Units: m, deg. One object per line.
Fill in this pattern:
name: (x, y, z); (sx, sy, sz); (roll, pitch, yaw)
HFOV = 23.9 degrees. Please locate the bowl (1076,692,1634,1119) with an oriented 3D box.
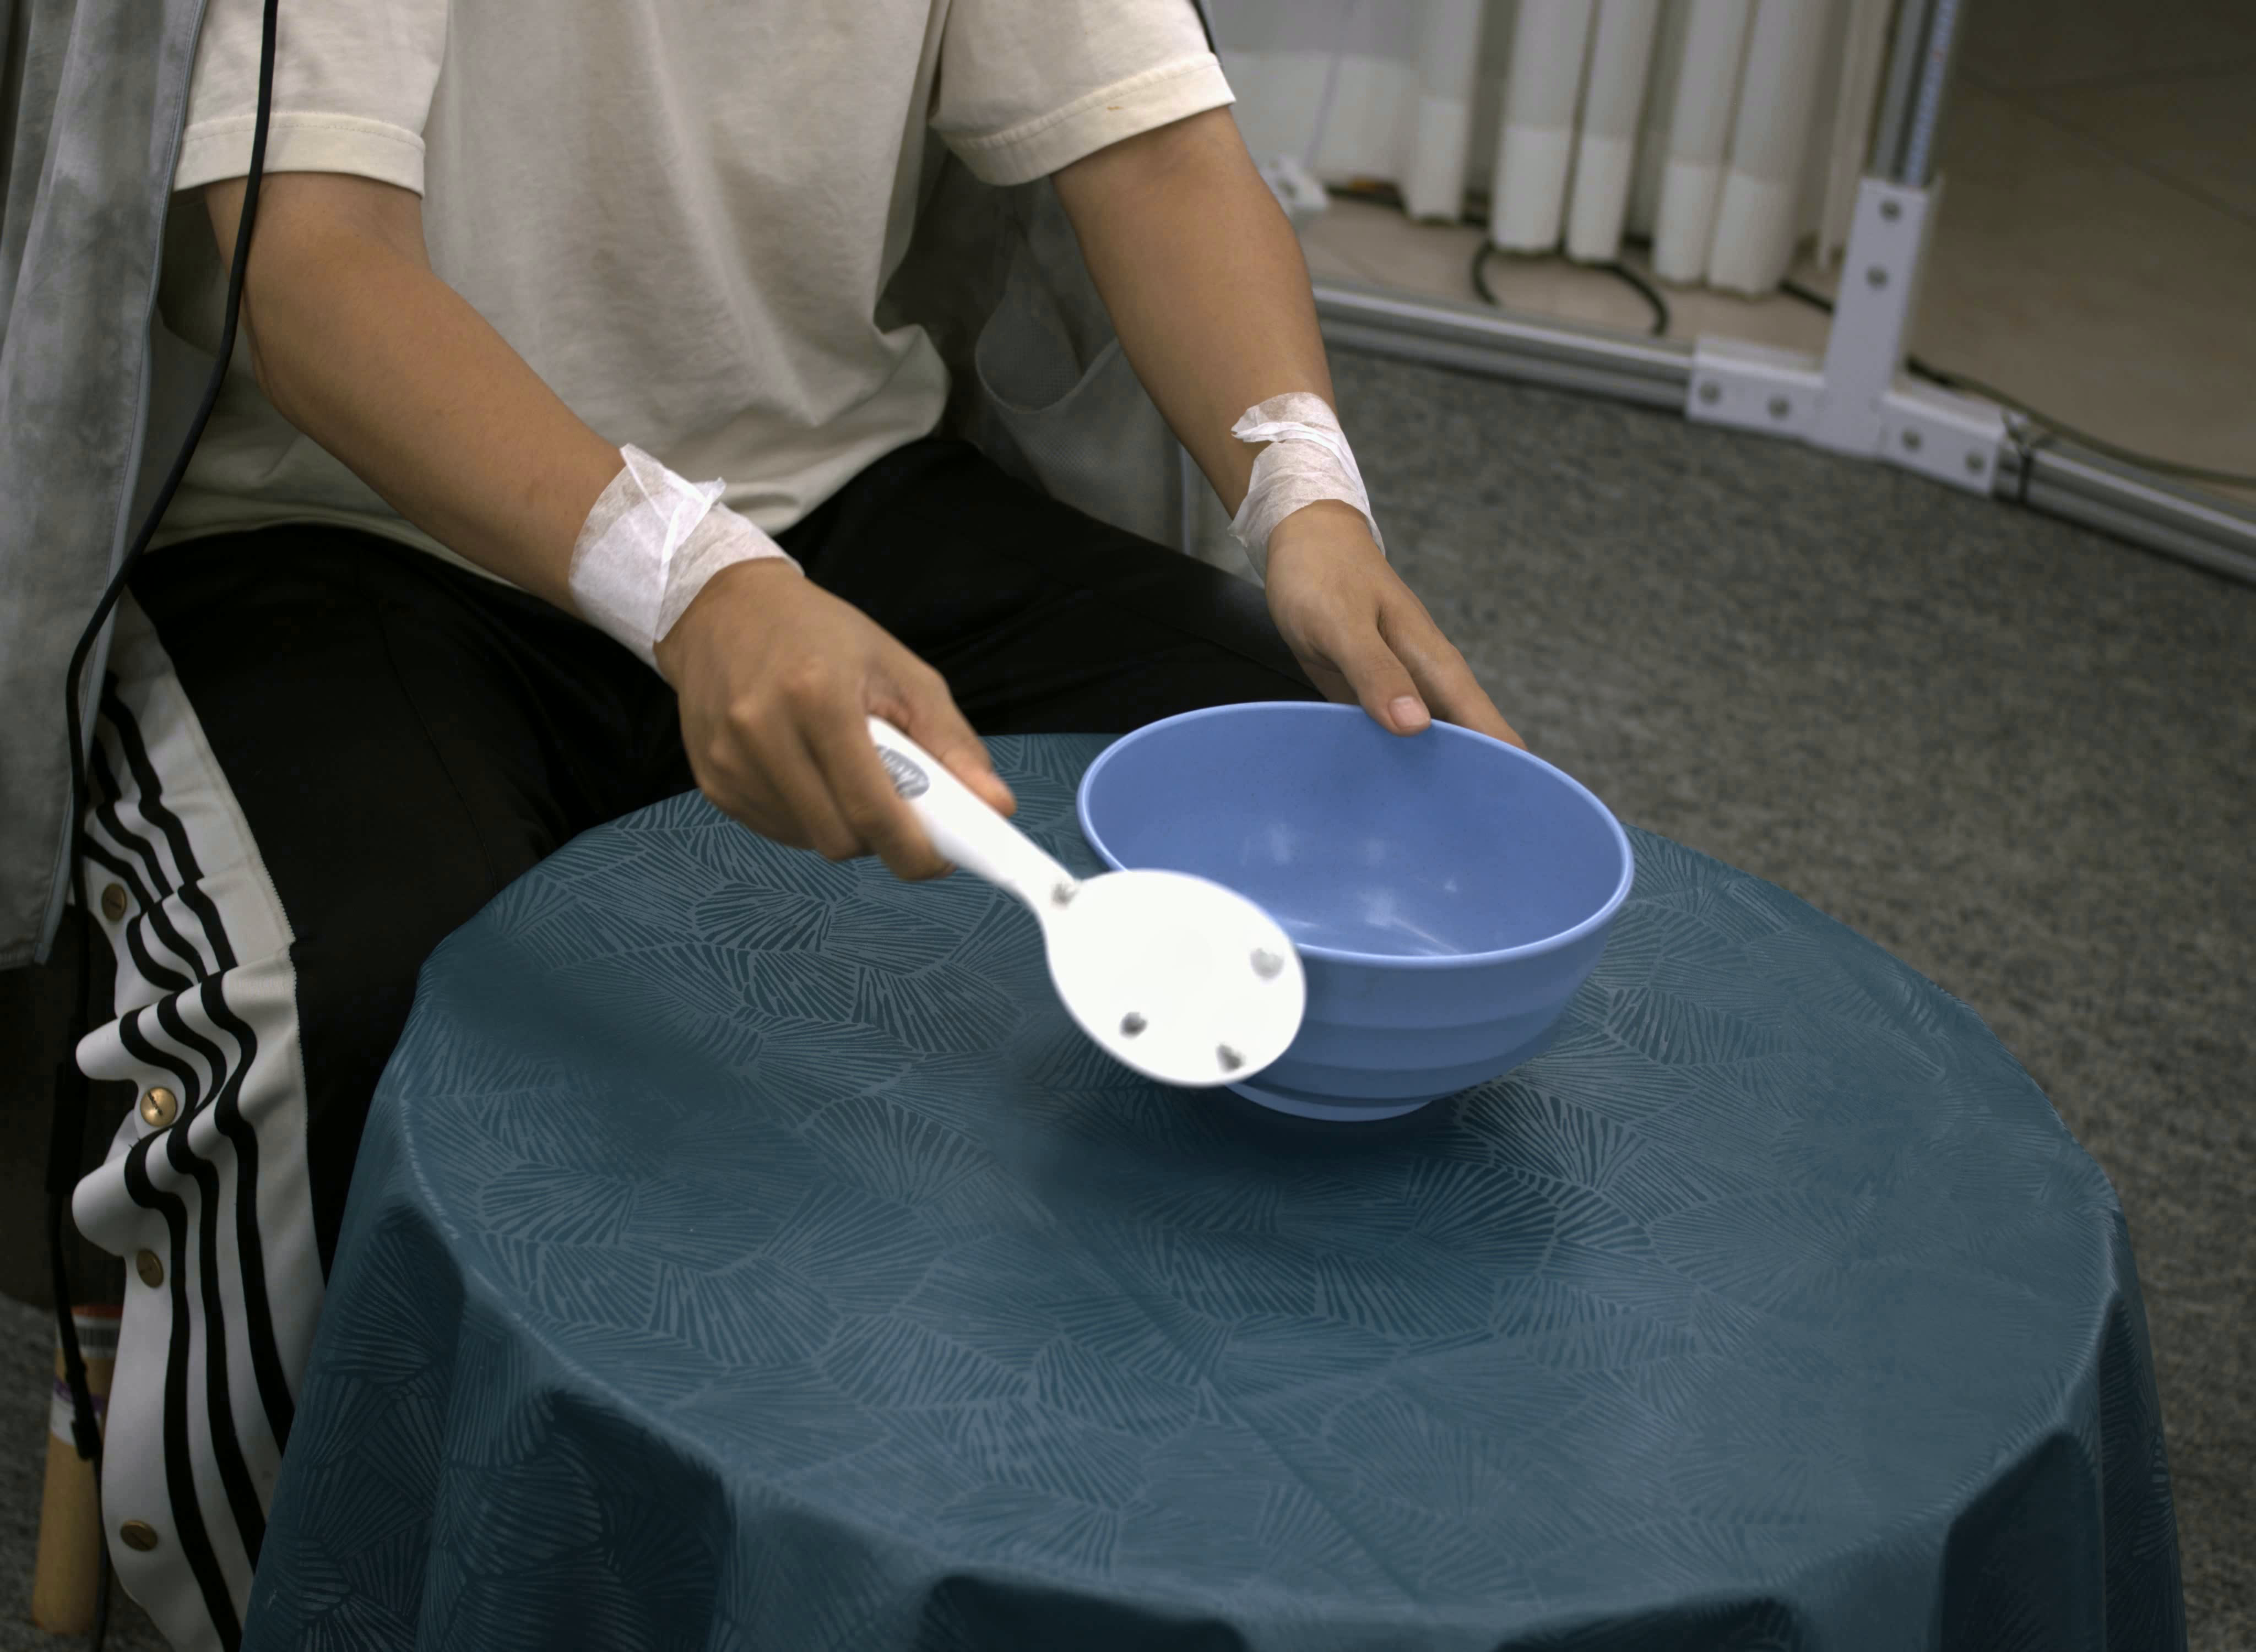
bowl: (0.074, 0.039, 1.879); (0.196, 0.095, 0.198); (5, 29, -3)

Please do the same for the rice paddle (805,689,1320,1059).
rice paddle: (-0.022, 0.014, 1.777); (0.206, 0.029, 0.069); (32, 72, 26)
